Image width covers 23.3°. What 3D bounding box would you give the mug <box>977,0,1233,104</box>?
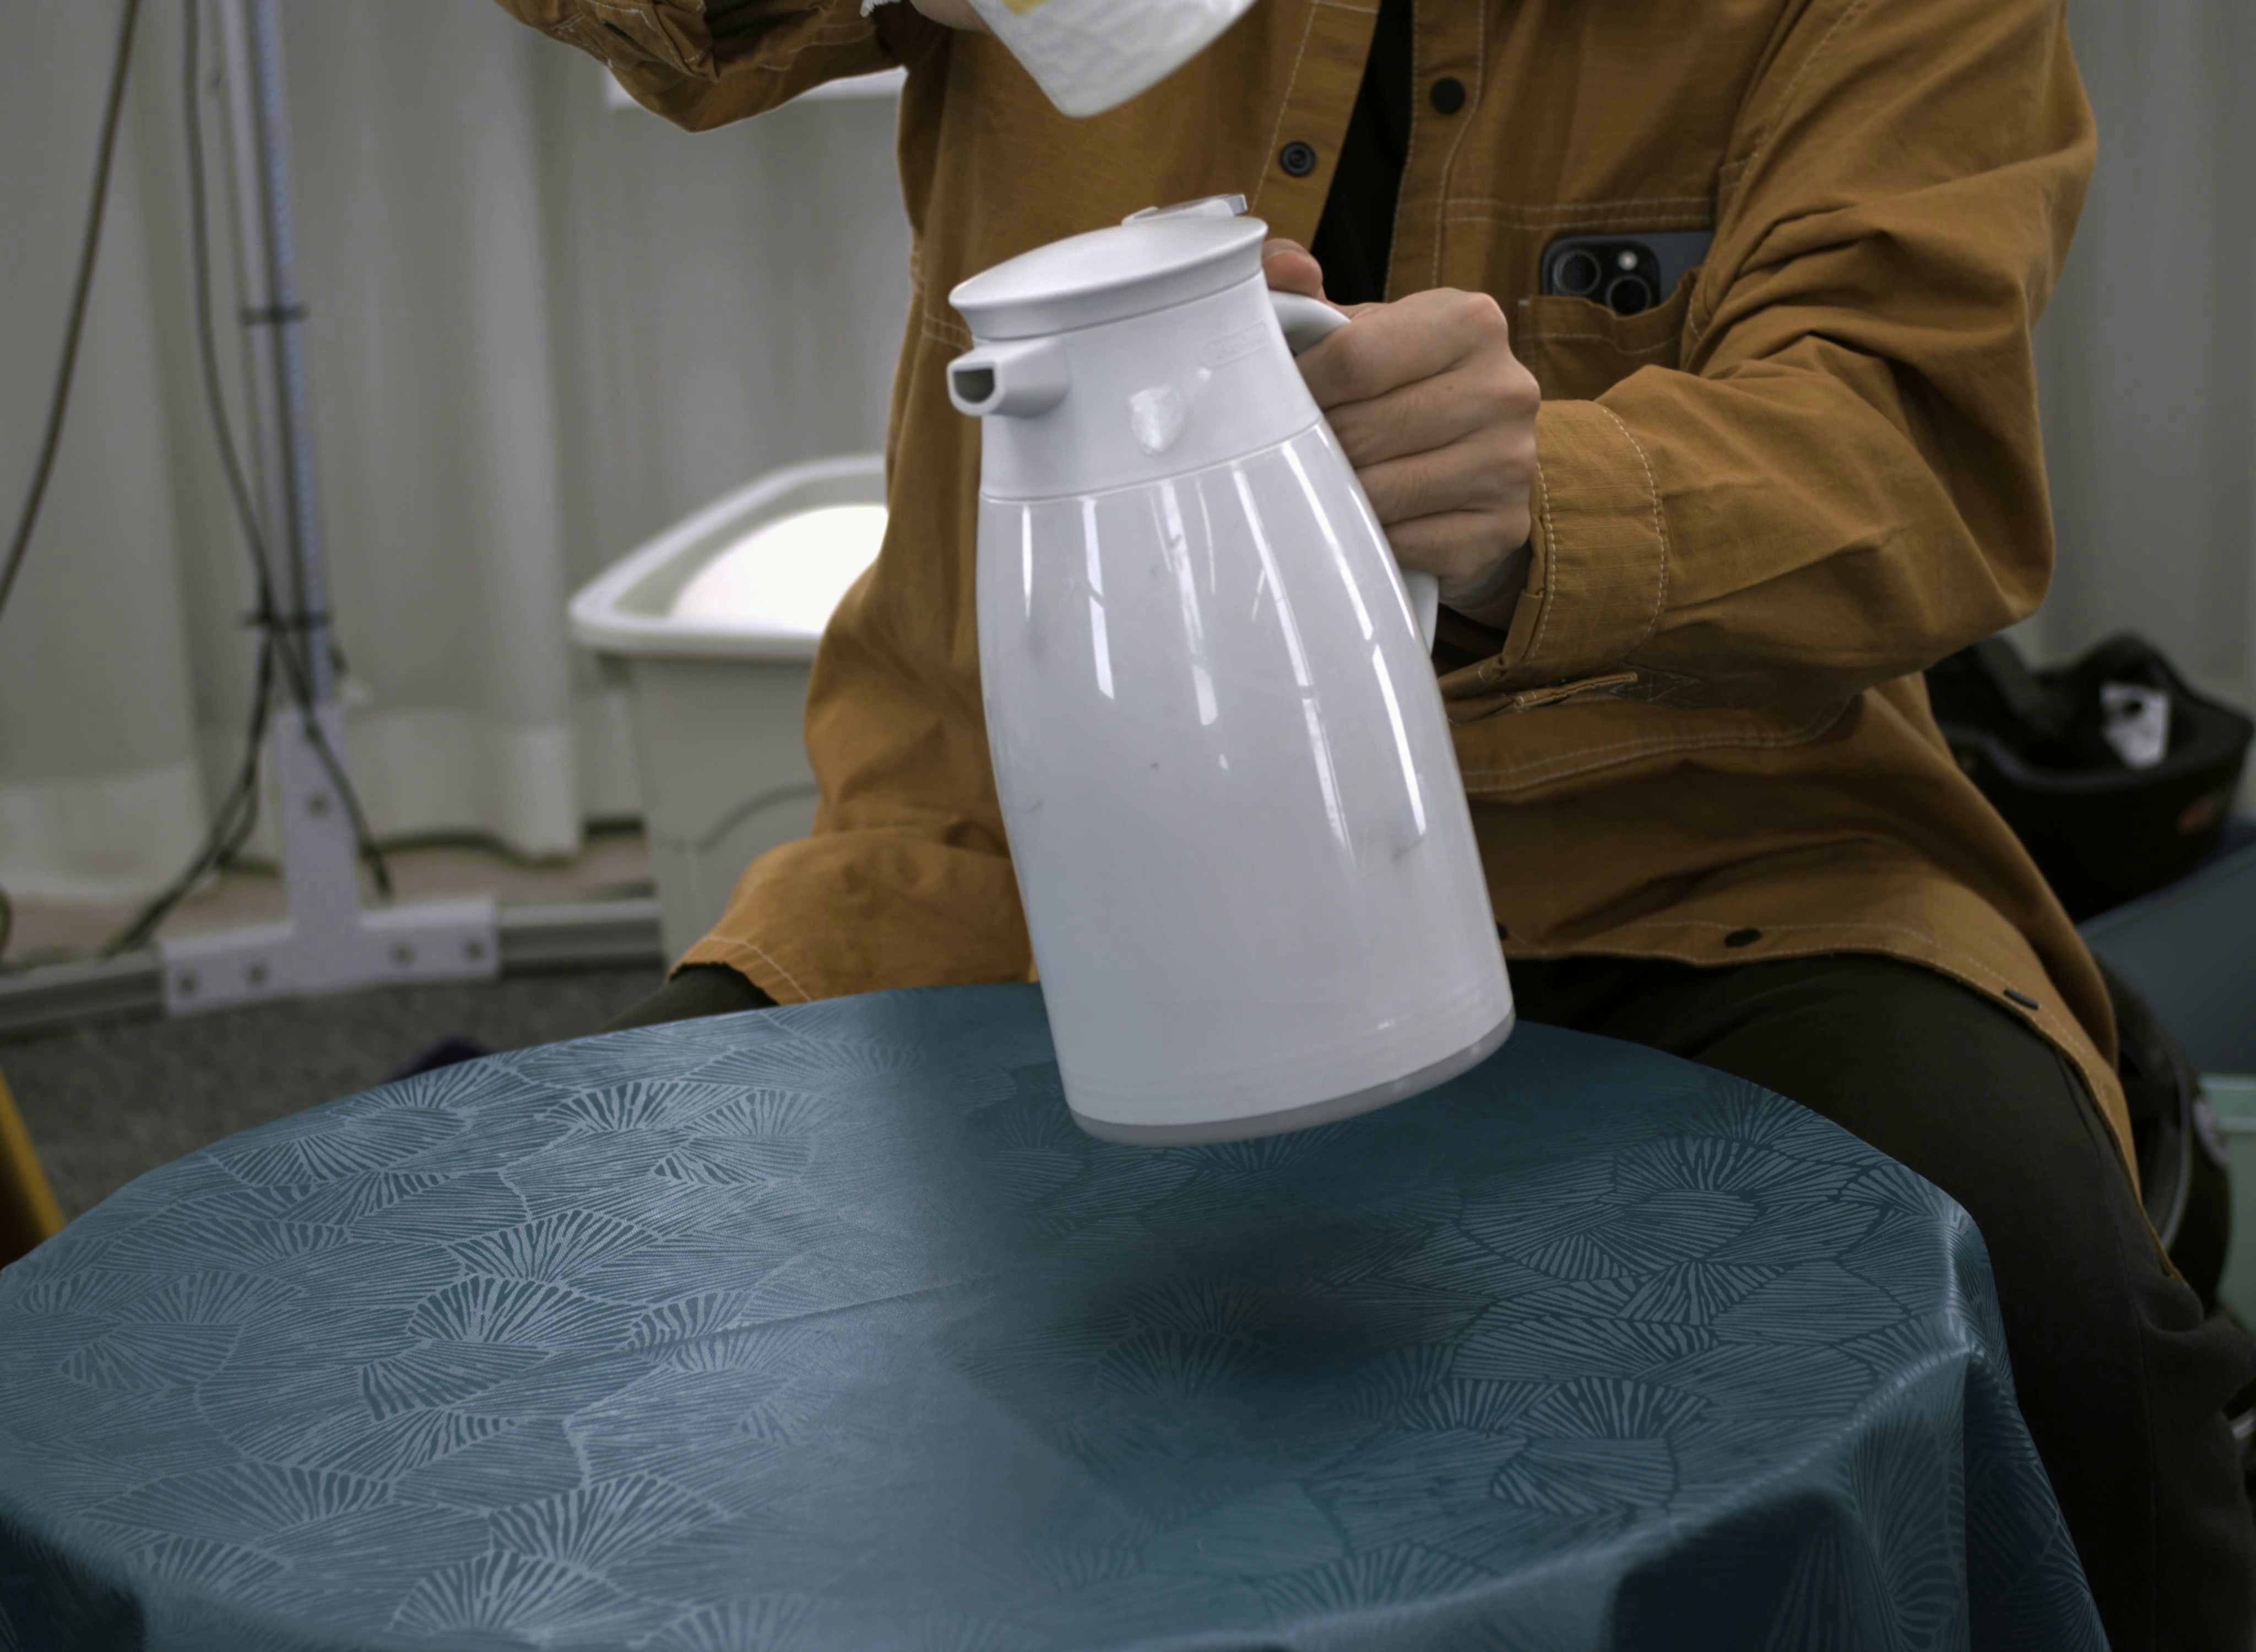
[{"bbox_3d":[-0.021,-0.268,1.512,0.085,0.101,0.119,-39,21,4],"label":"mug"}]

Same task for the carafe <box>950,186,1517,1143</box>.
[{"bbox_3d":[0.031,-0.054,1.564,0.133,0.248,0.168,-3,15,42],"label":"carafe"}]
